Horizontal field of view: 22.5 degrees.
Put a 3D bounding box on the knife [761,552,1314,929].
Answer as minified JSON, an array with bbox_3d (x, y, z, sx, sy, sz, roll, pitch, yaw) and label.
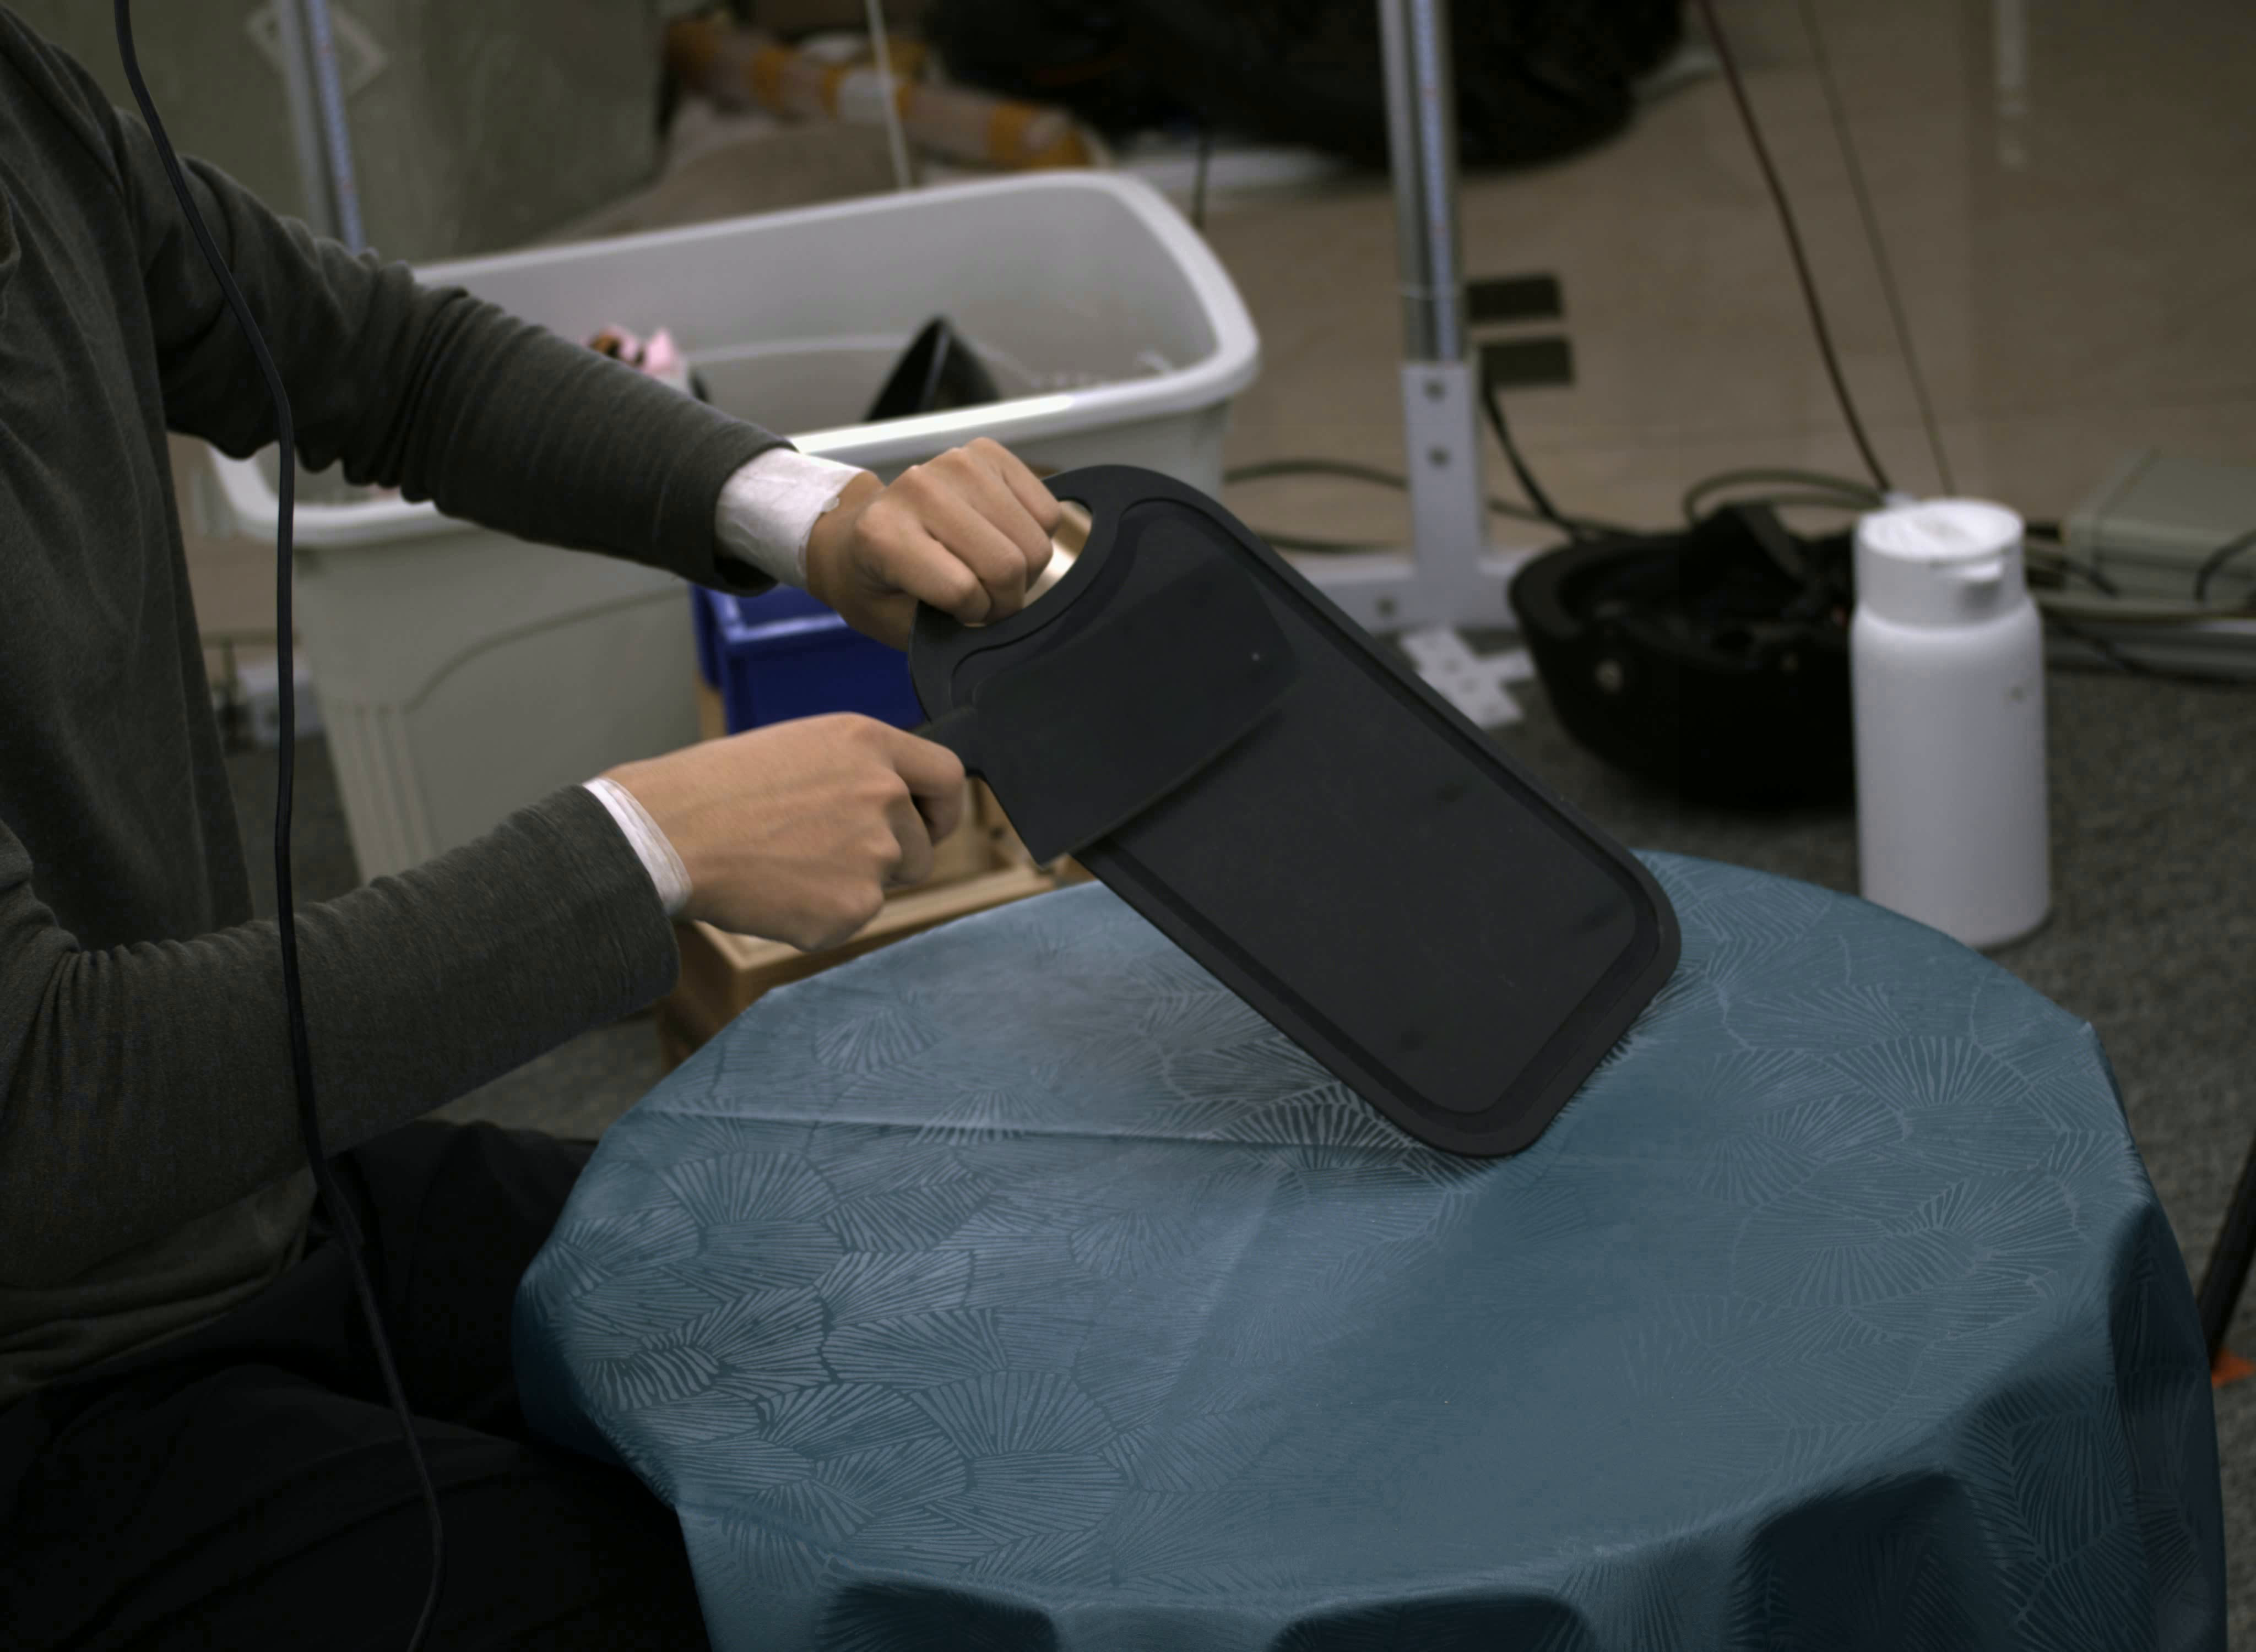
[{"bbox_3d":[-0.031,-0.026,2.126,0.299,0.081,0.021,-28,0,-44],"label":"knife"}]

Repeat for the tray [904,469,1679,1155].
[{"bbox_3d":[0.061,-0.015,2.208,0.325,0.010,0.208,41,43,4],"label":"tray"}]
